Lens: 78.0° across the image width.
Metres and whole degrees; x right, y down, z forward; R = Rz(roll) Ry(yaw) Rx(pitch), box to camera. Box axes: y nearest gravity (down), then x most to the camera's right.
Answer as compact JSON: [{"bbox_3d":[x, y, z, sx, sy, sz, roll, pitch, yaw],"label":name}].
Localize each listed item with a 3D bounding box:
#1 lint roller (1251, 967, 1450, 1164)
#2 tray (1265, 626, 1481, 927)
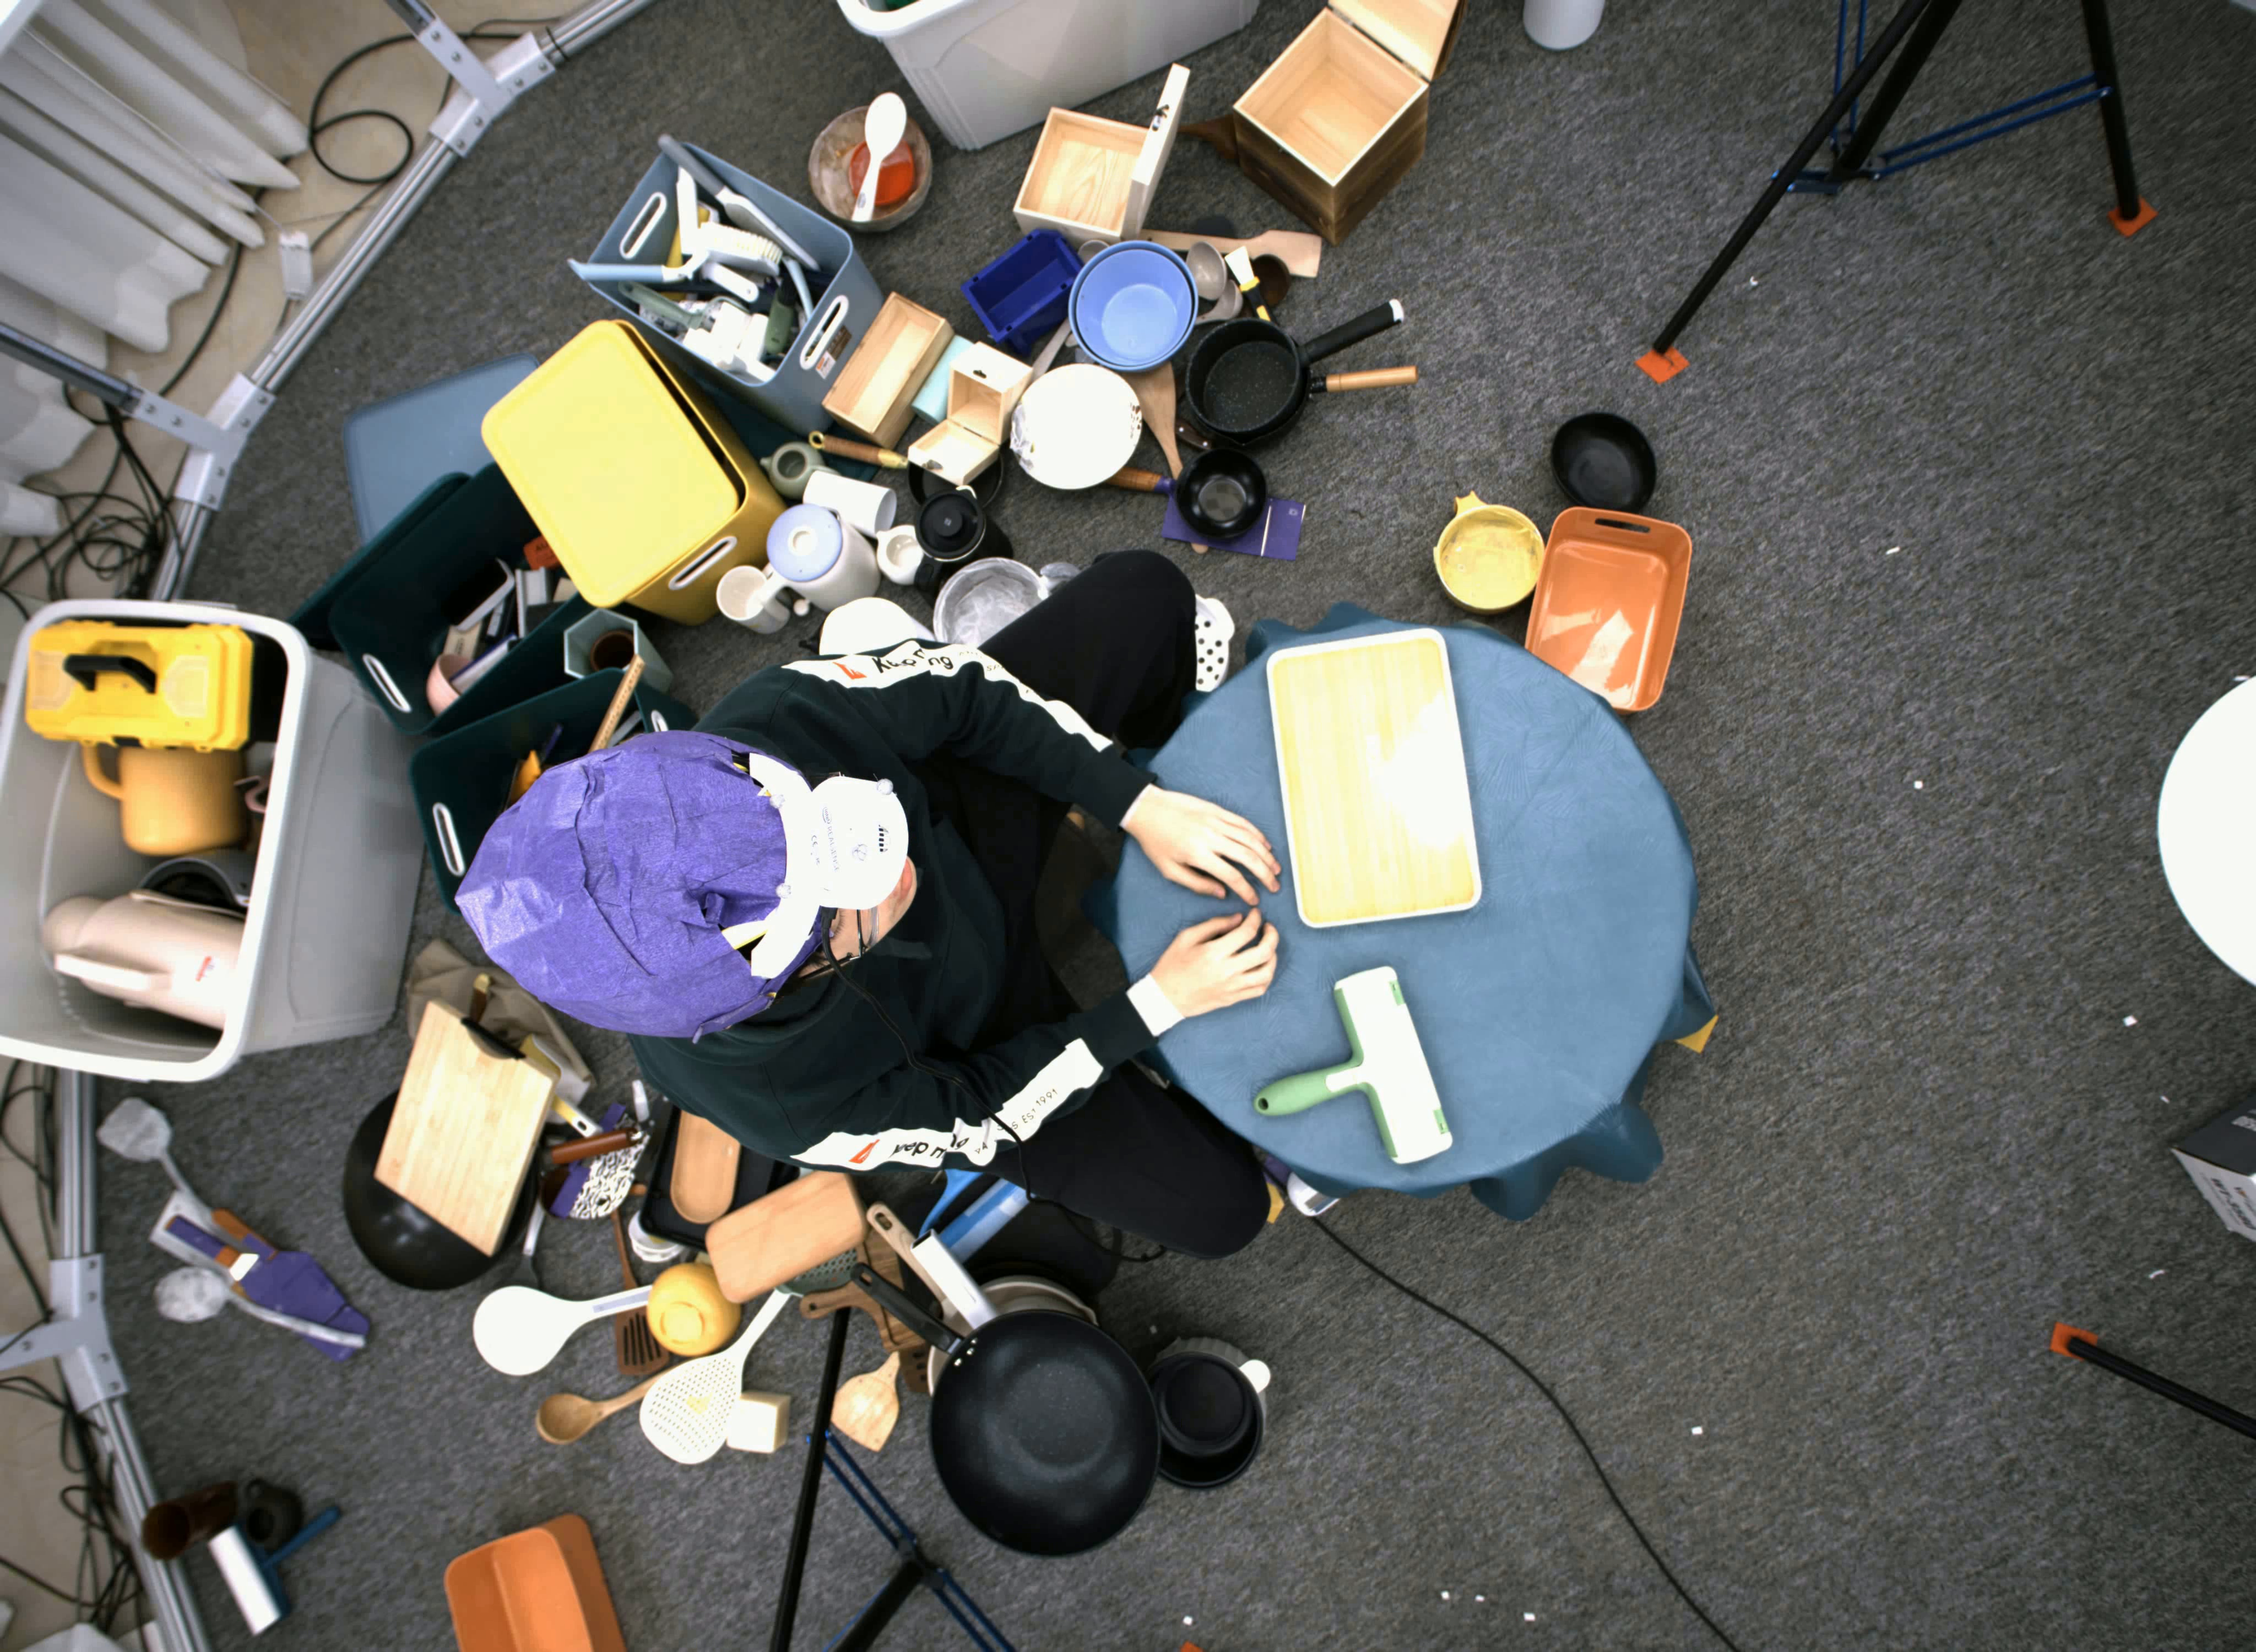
[{"bbox_3d":[0.214,0.260,1.418,0.184,0.082,0.197,-18,84,4],"label":"lint roller"},{"bbox_3d":[0.256,-0.053,1.451,0.192,0.027,0.299,-8,86,10],"label":"tray"}]
